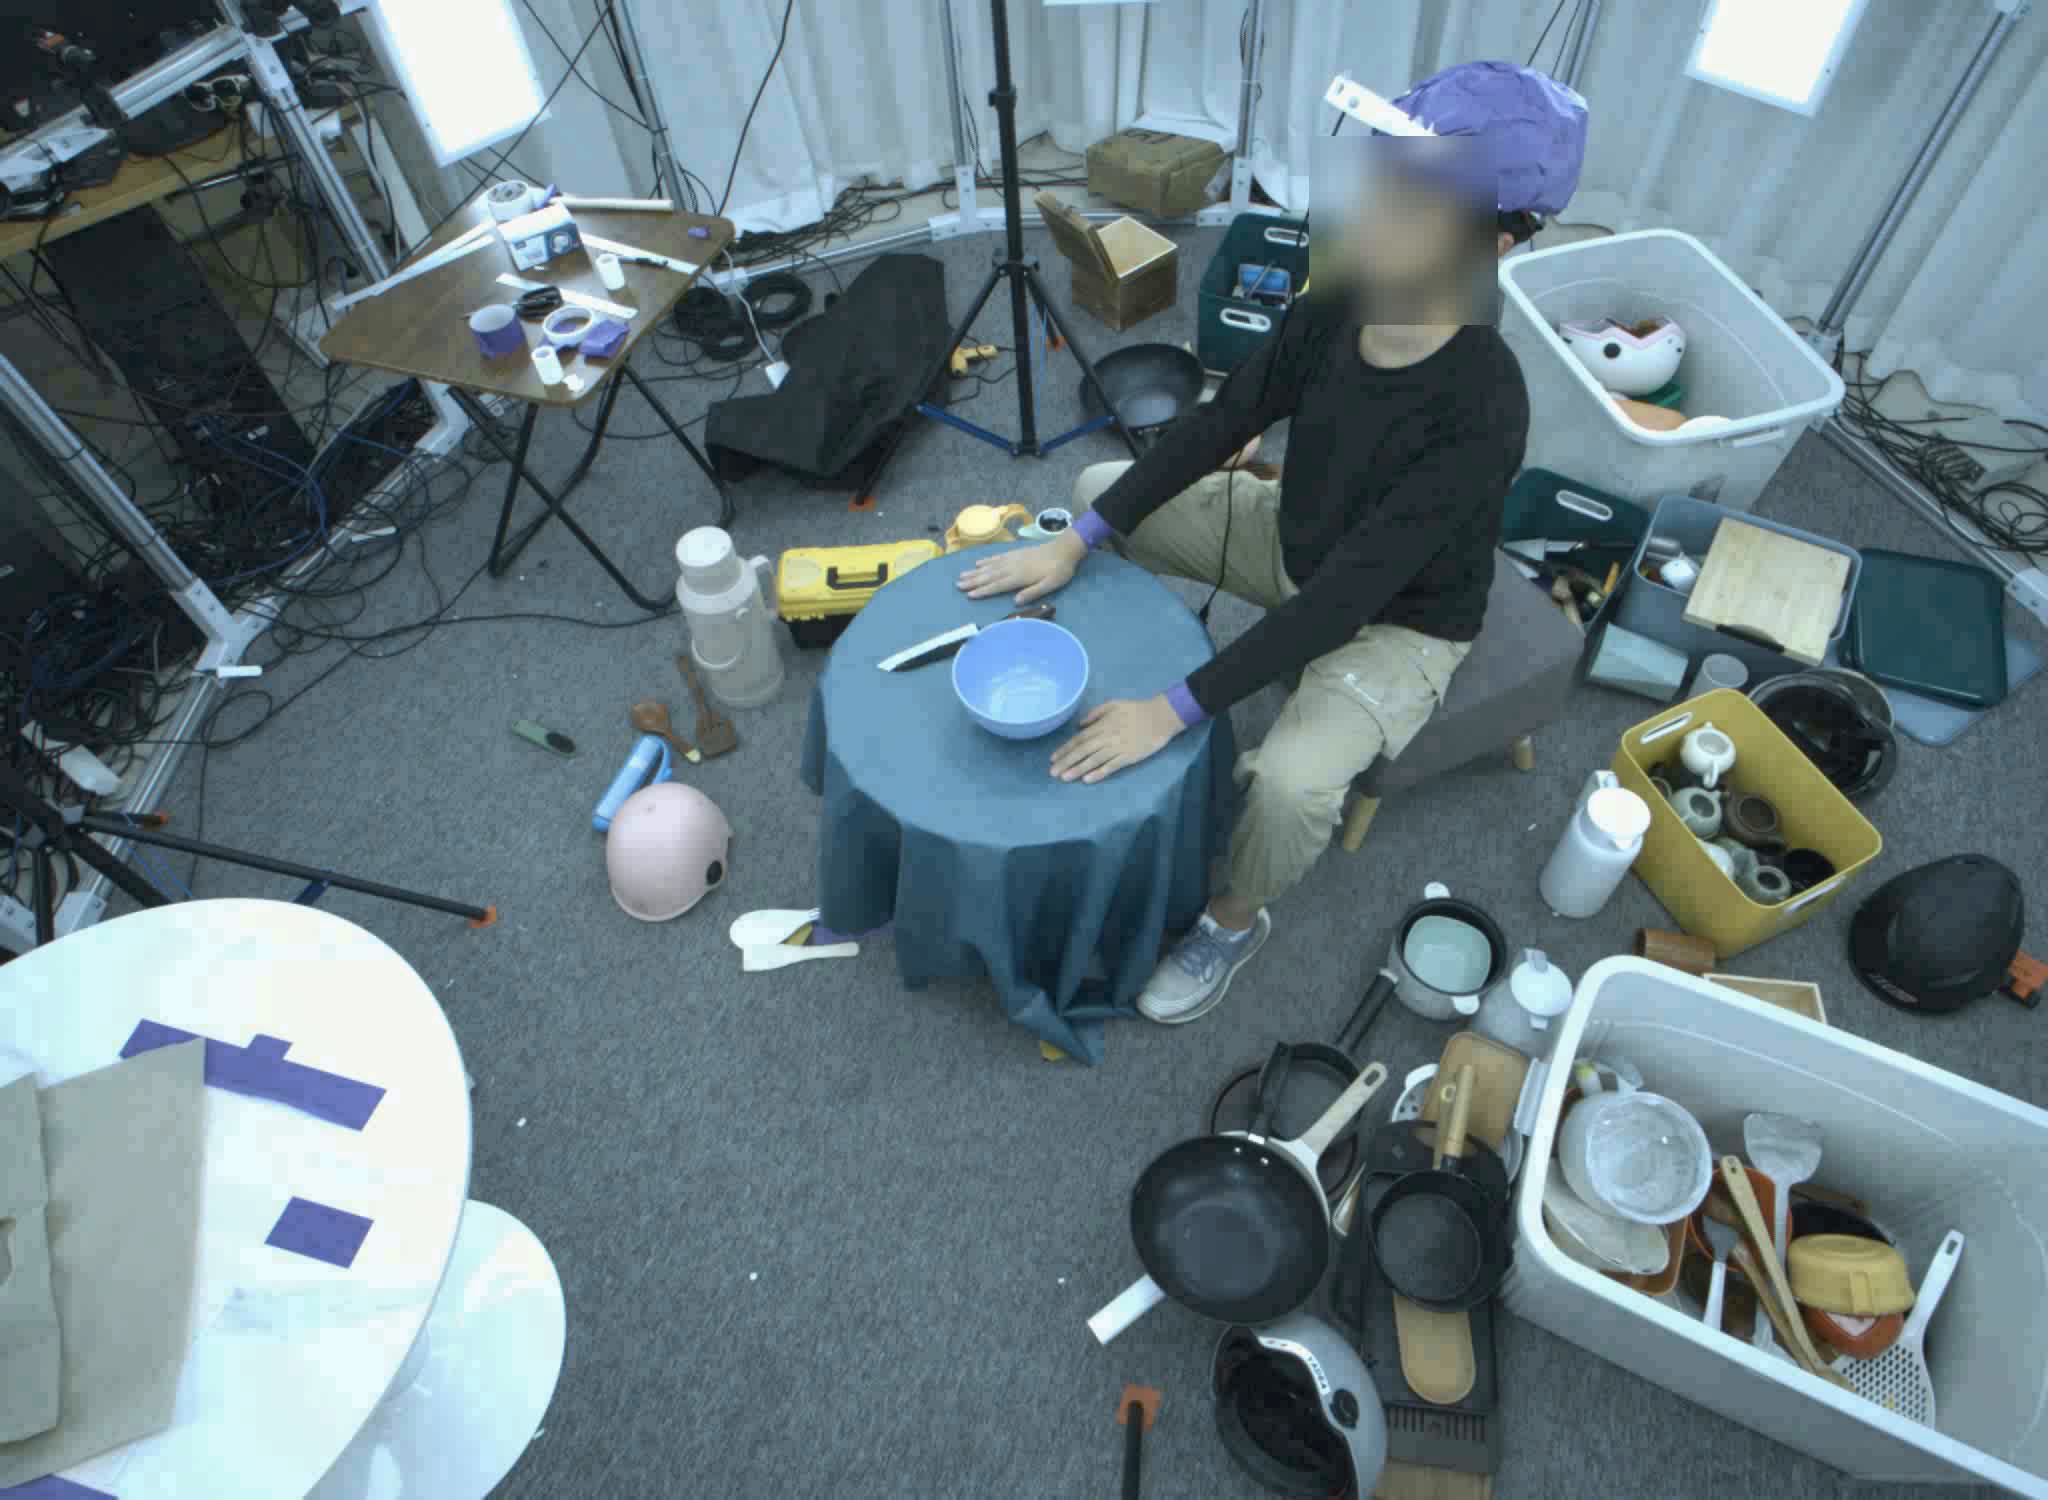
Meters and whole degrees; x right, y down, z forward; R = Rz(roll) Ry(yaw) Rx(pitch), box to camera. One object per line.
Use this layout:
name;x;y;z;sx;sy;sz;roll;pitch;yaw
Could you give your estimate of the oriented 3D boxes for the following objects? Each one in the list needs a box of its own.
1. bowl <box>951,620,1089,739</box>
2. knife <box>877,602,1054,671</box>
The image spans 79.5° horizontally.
bowl;-0.004;-0.088;1.790;0.196;0.096;0.194;0;53;1
knife;-0.090;-0.174;1.901;0.290;0.020;0.049;-20;51;-9
